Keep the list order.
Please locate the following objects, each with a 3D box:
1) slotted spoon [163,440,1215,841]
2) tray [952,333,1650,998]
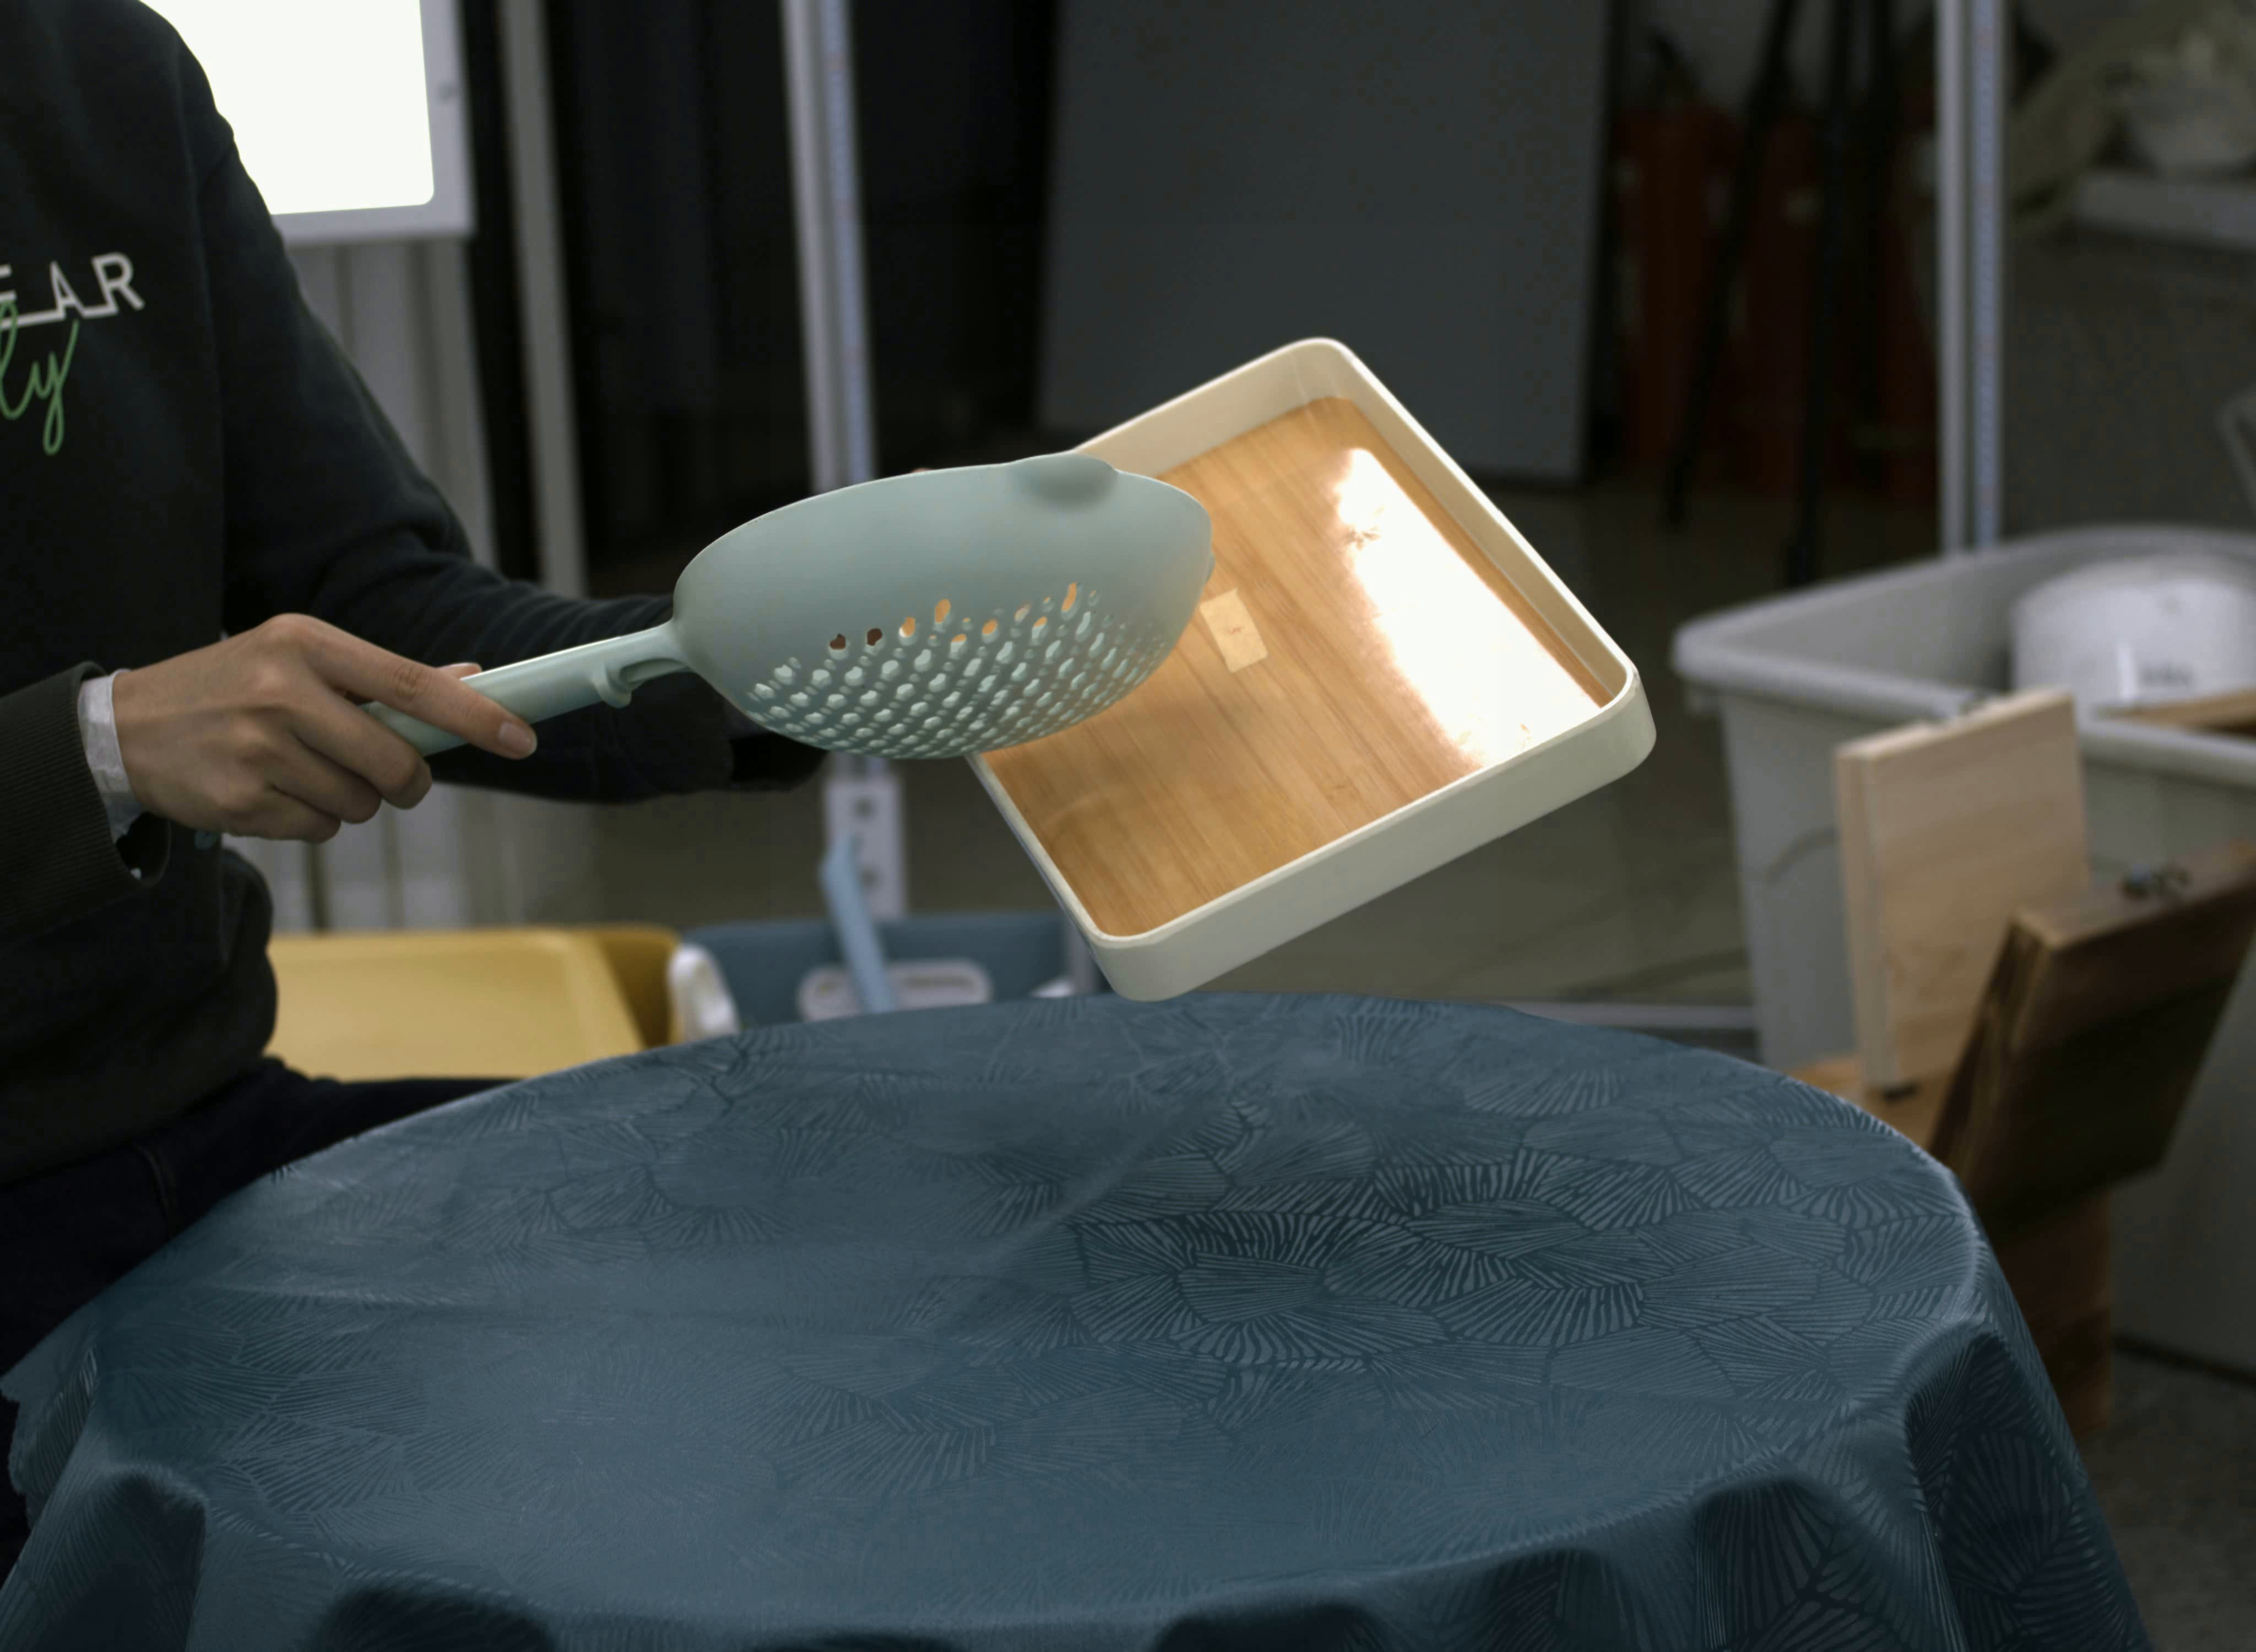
[{"bbox_3d":[-0.145,-0.050,1.709,0.358,0.076,0.167,-6,-17,20],"label":"slotted spoon"},{"bbox_3d":[0.034,-0.059,1.758,0.189,0.027,0.303,-27,31,-4],"label":"tray"}]
